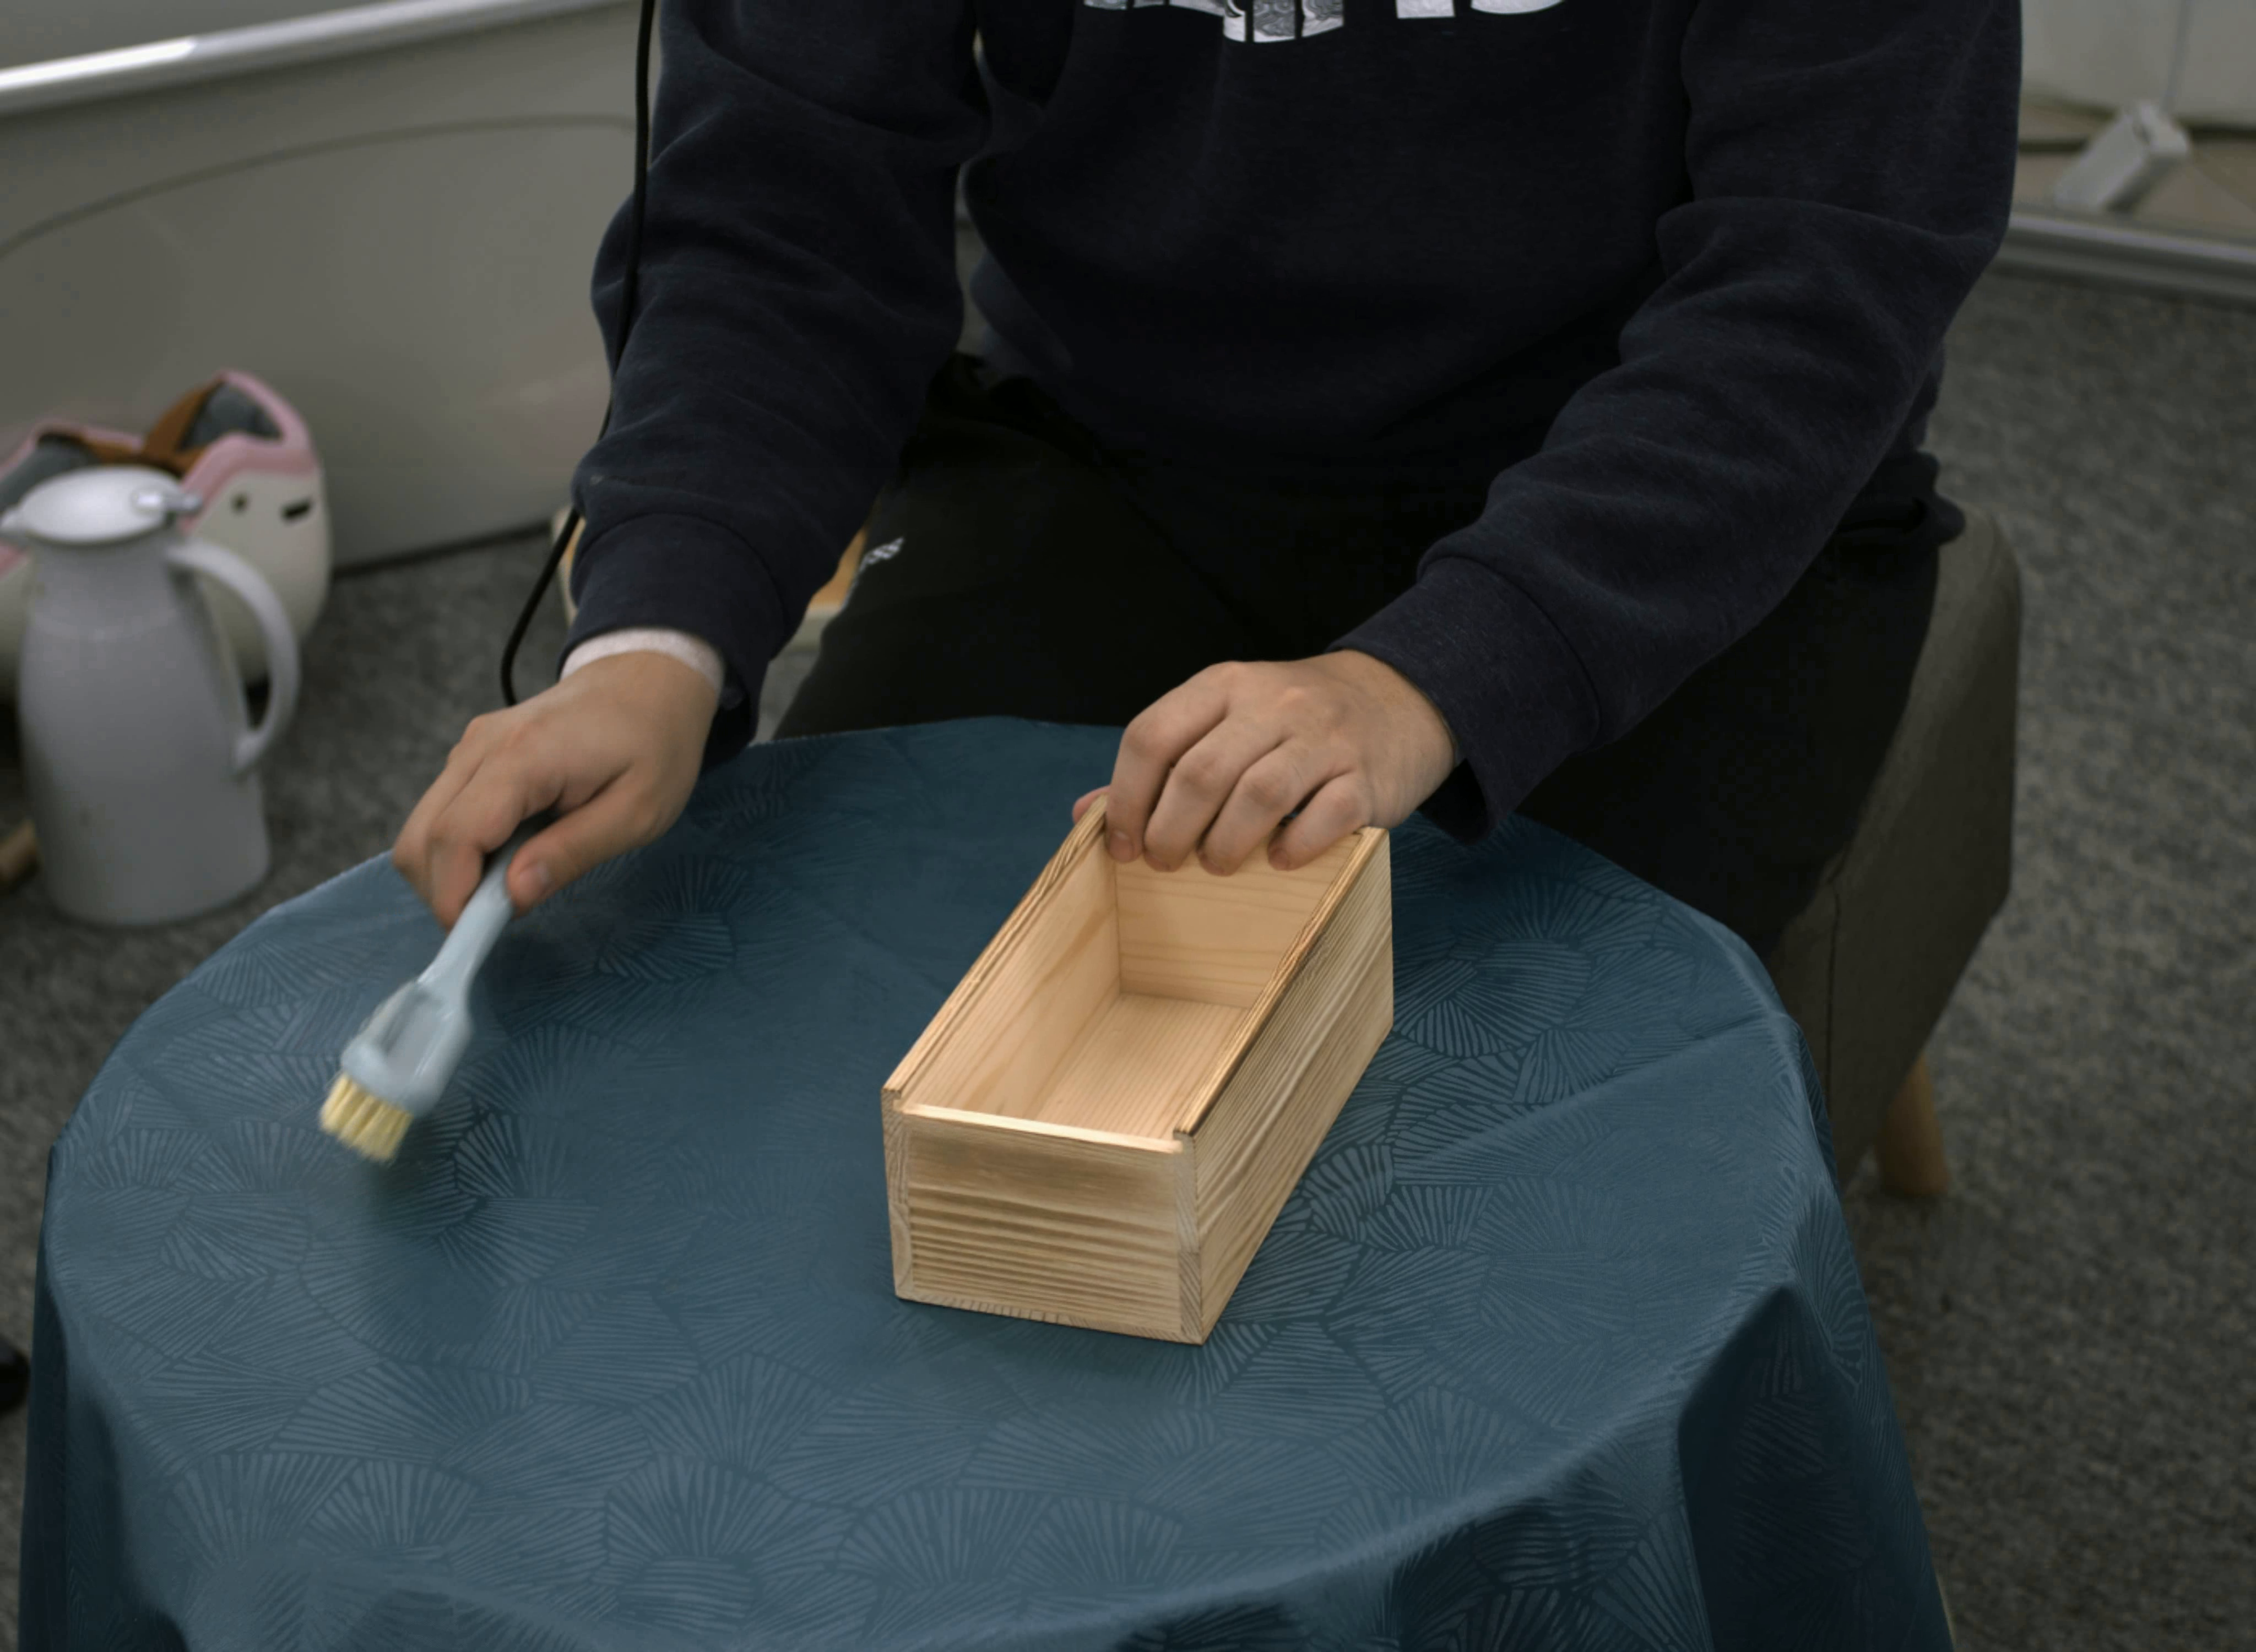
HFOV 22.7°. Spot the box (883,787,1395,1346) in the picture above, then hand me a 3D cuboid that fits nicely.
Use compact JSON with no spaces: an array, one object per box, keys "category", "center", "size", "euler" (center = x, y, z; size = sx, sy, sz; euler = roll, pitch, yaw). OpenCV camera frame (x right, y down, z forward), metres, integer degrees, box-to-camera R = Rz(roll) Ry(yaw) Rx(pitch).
[{"category":"box","center":[0.007,0.076,1.865],"size":[0.107,0.079,0.215],"euler":[7,29,18]}]

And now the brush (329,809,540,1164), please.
[{"category":"brush","center":[-0.239,0.052,1.957],"size":[0.037,0.049,0.232],"euler":[28,27,-8]}]
